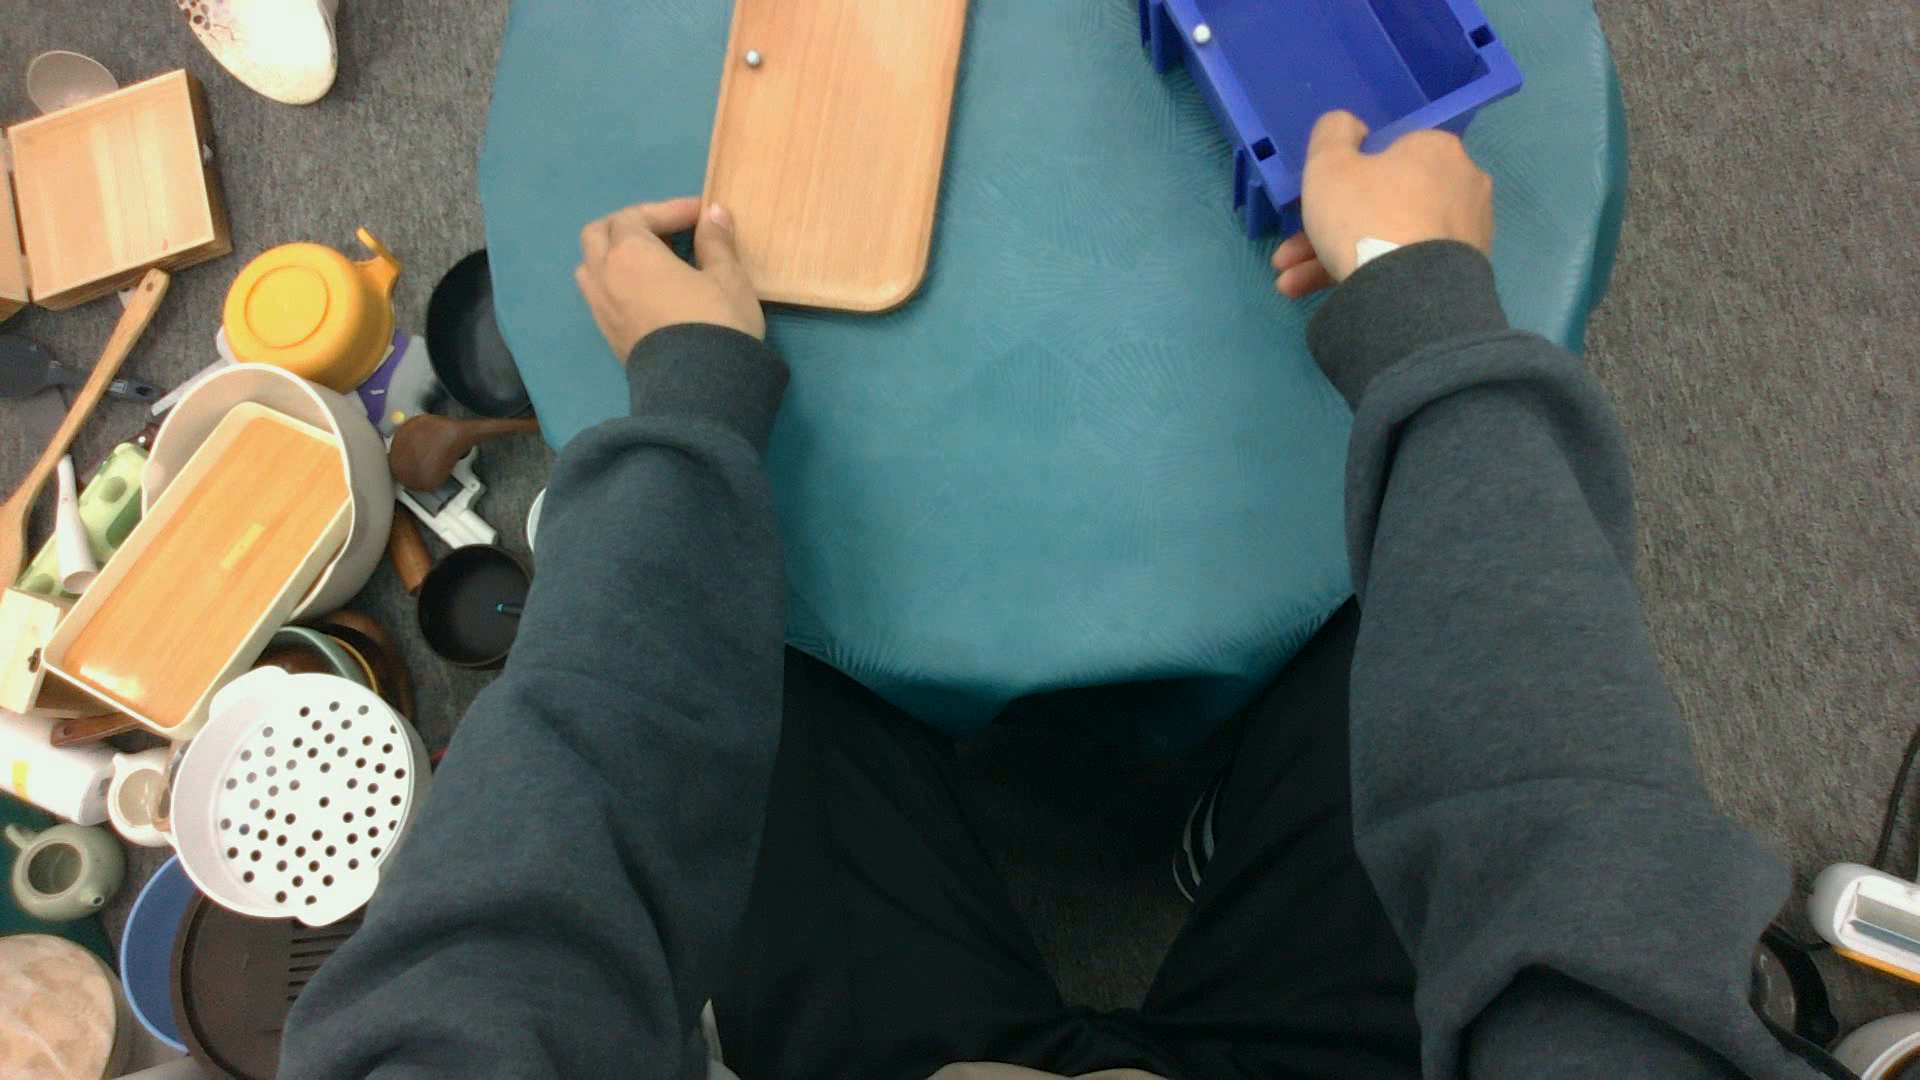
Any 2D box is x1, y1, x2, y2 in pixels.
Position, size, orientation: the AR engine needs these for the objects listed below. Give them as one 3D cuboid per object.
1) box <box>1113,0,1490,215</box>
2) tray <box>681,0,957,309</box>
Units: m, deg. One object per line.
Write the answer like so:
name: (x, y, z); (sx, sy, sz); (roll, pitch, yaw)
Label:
box: (0.153, -0.261, 0.679); (0.124, 0.082, 0.179); (-28, 80, 6)
tray: (-0.071, -0.247, 0.743); (0.130, 0.023, 0.251); (7, 82, 11)
